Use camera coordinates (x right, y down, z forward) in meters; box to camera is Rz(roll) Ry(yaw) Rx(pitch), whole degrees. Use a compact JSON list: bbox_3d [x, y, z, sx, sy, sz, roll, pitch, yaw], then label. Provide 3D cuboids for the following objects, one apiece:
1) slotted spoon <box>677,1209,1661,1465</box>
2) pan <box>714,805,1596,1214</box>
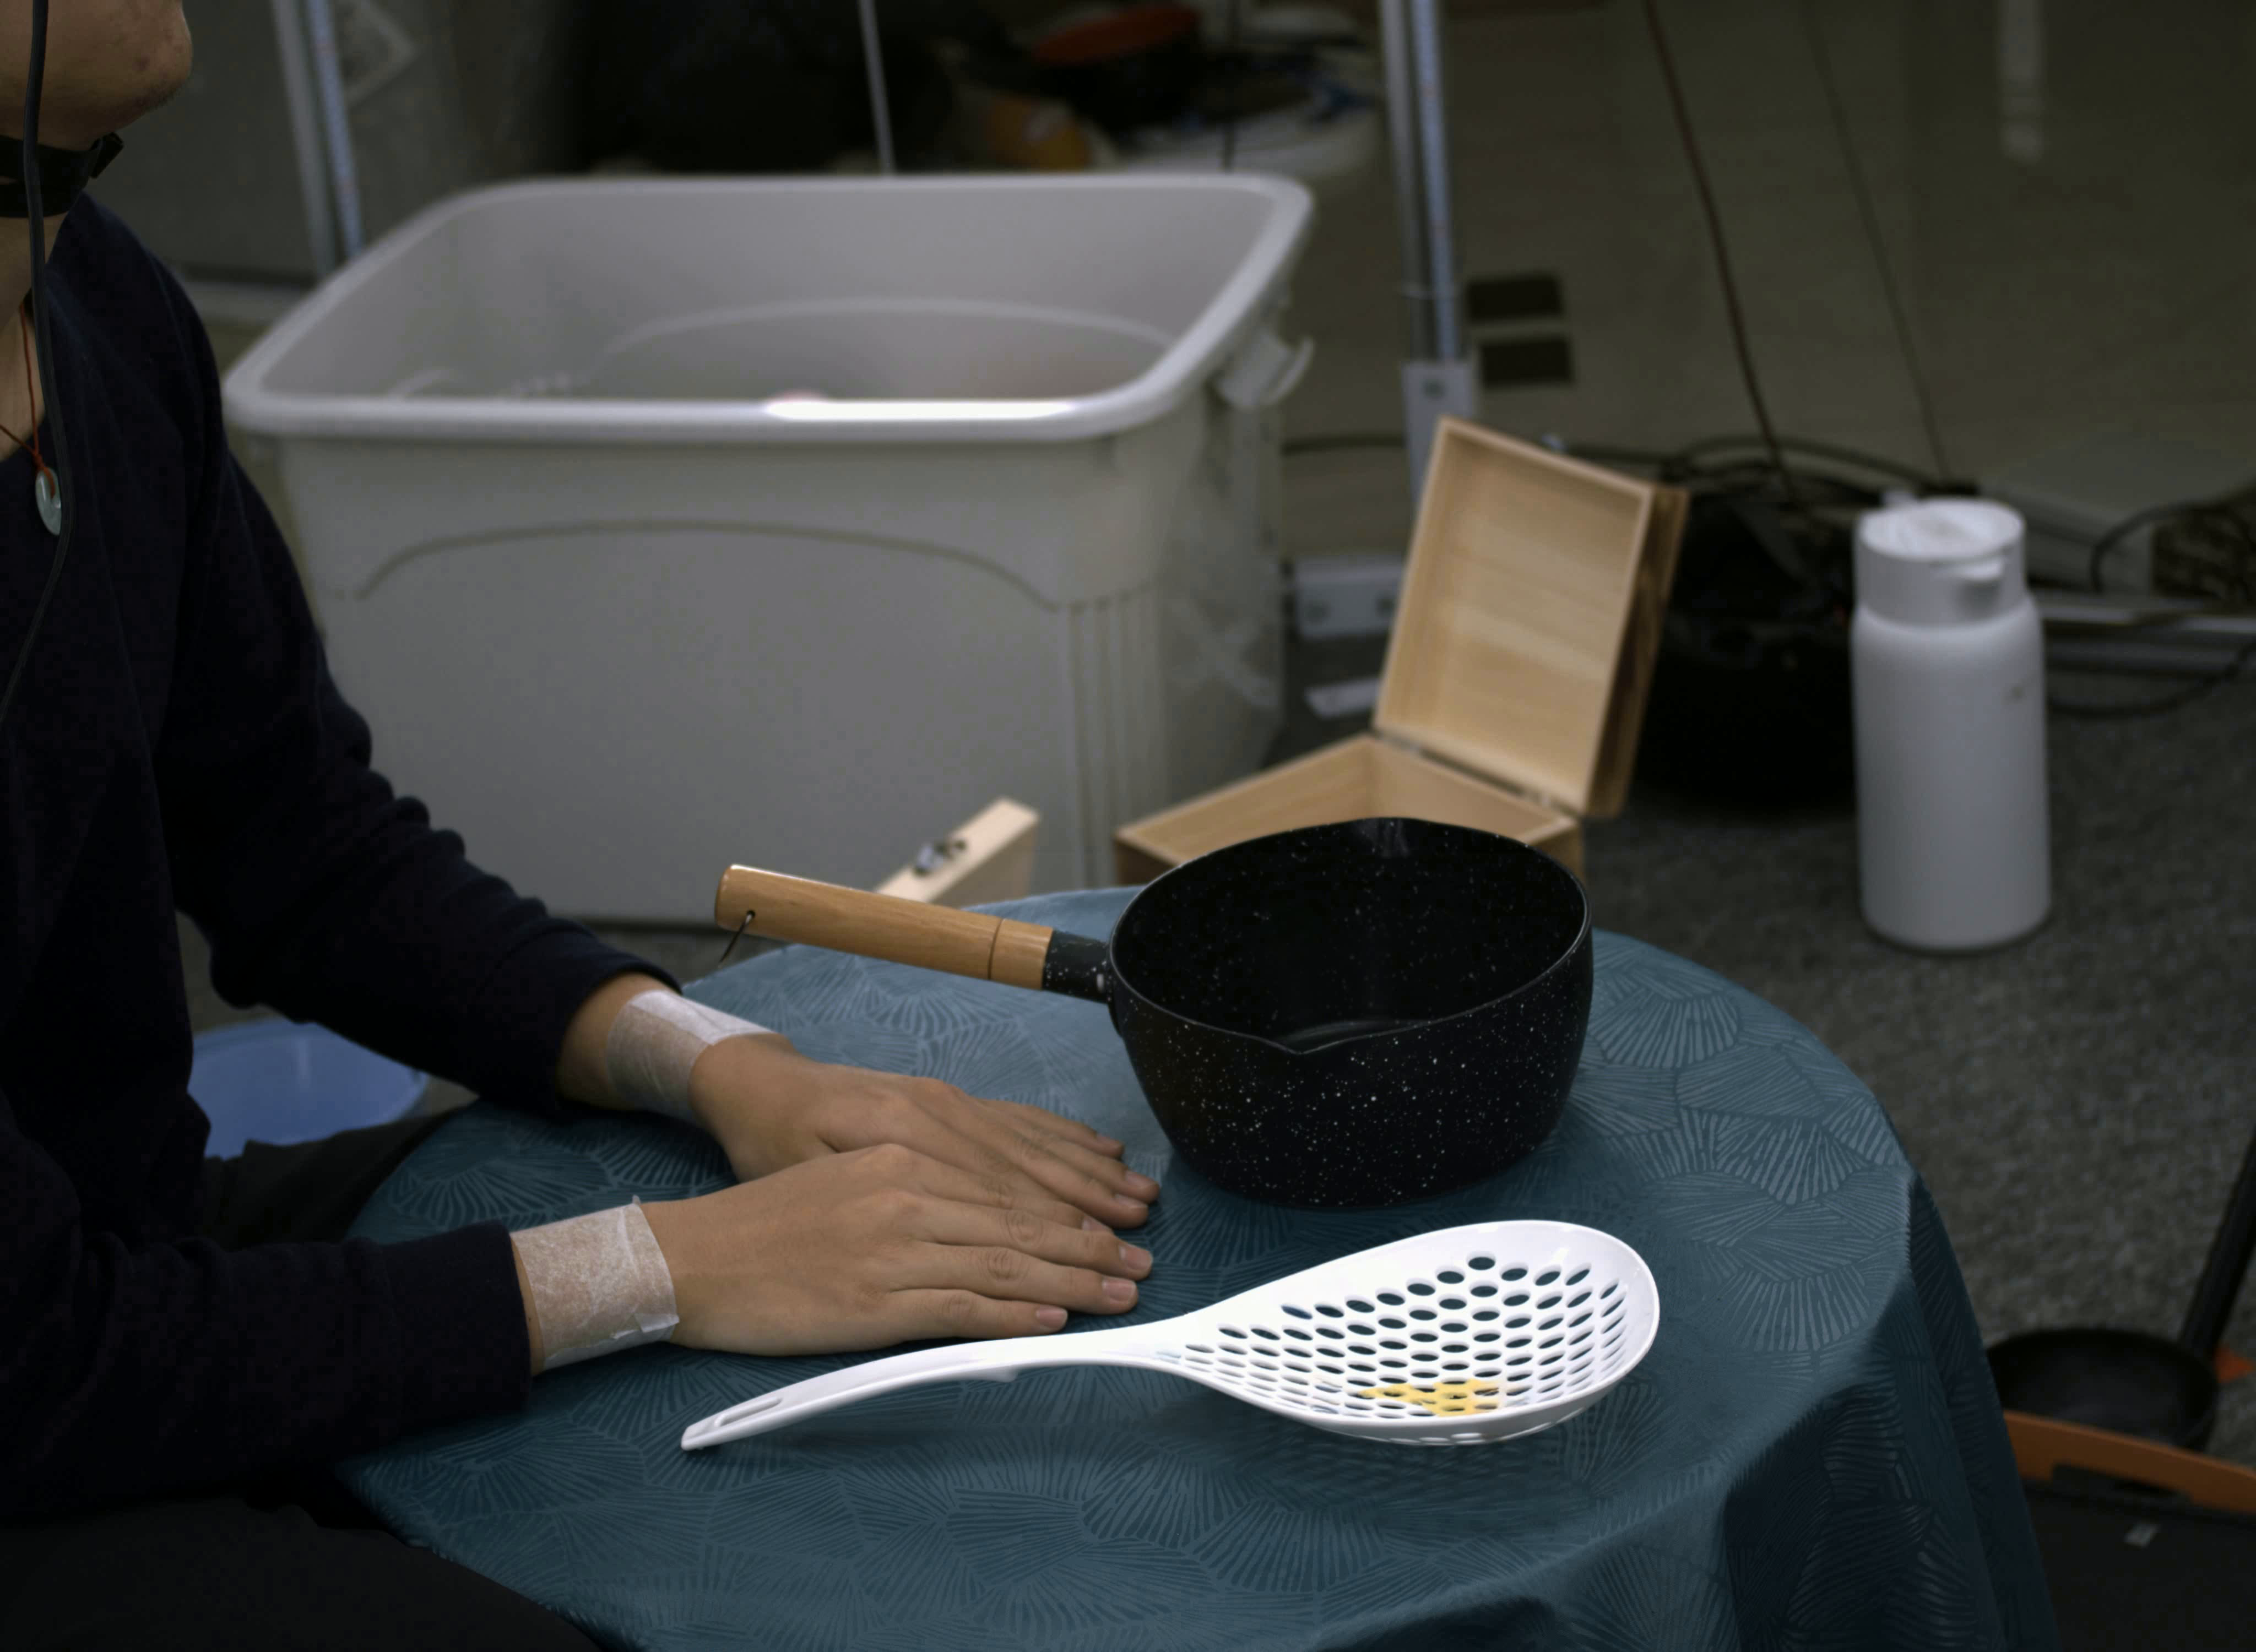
[{"bbox_3d":[0.012,0.191,1.981,0.347,0.051,0.135,-2,26,5],"label":"slotted spoon"},{"bbox_3d":[0.009,0.065,2.173,0.342,0.110,0.204,0,27,12],"label":"pan"}]
